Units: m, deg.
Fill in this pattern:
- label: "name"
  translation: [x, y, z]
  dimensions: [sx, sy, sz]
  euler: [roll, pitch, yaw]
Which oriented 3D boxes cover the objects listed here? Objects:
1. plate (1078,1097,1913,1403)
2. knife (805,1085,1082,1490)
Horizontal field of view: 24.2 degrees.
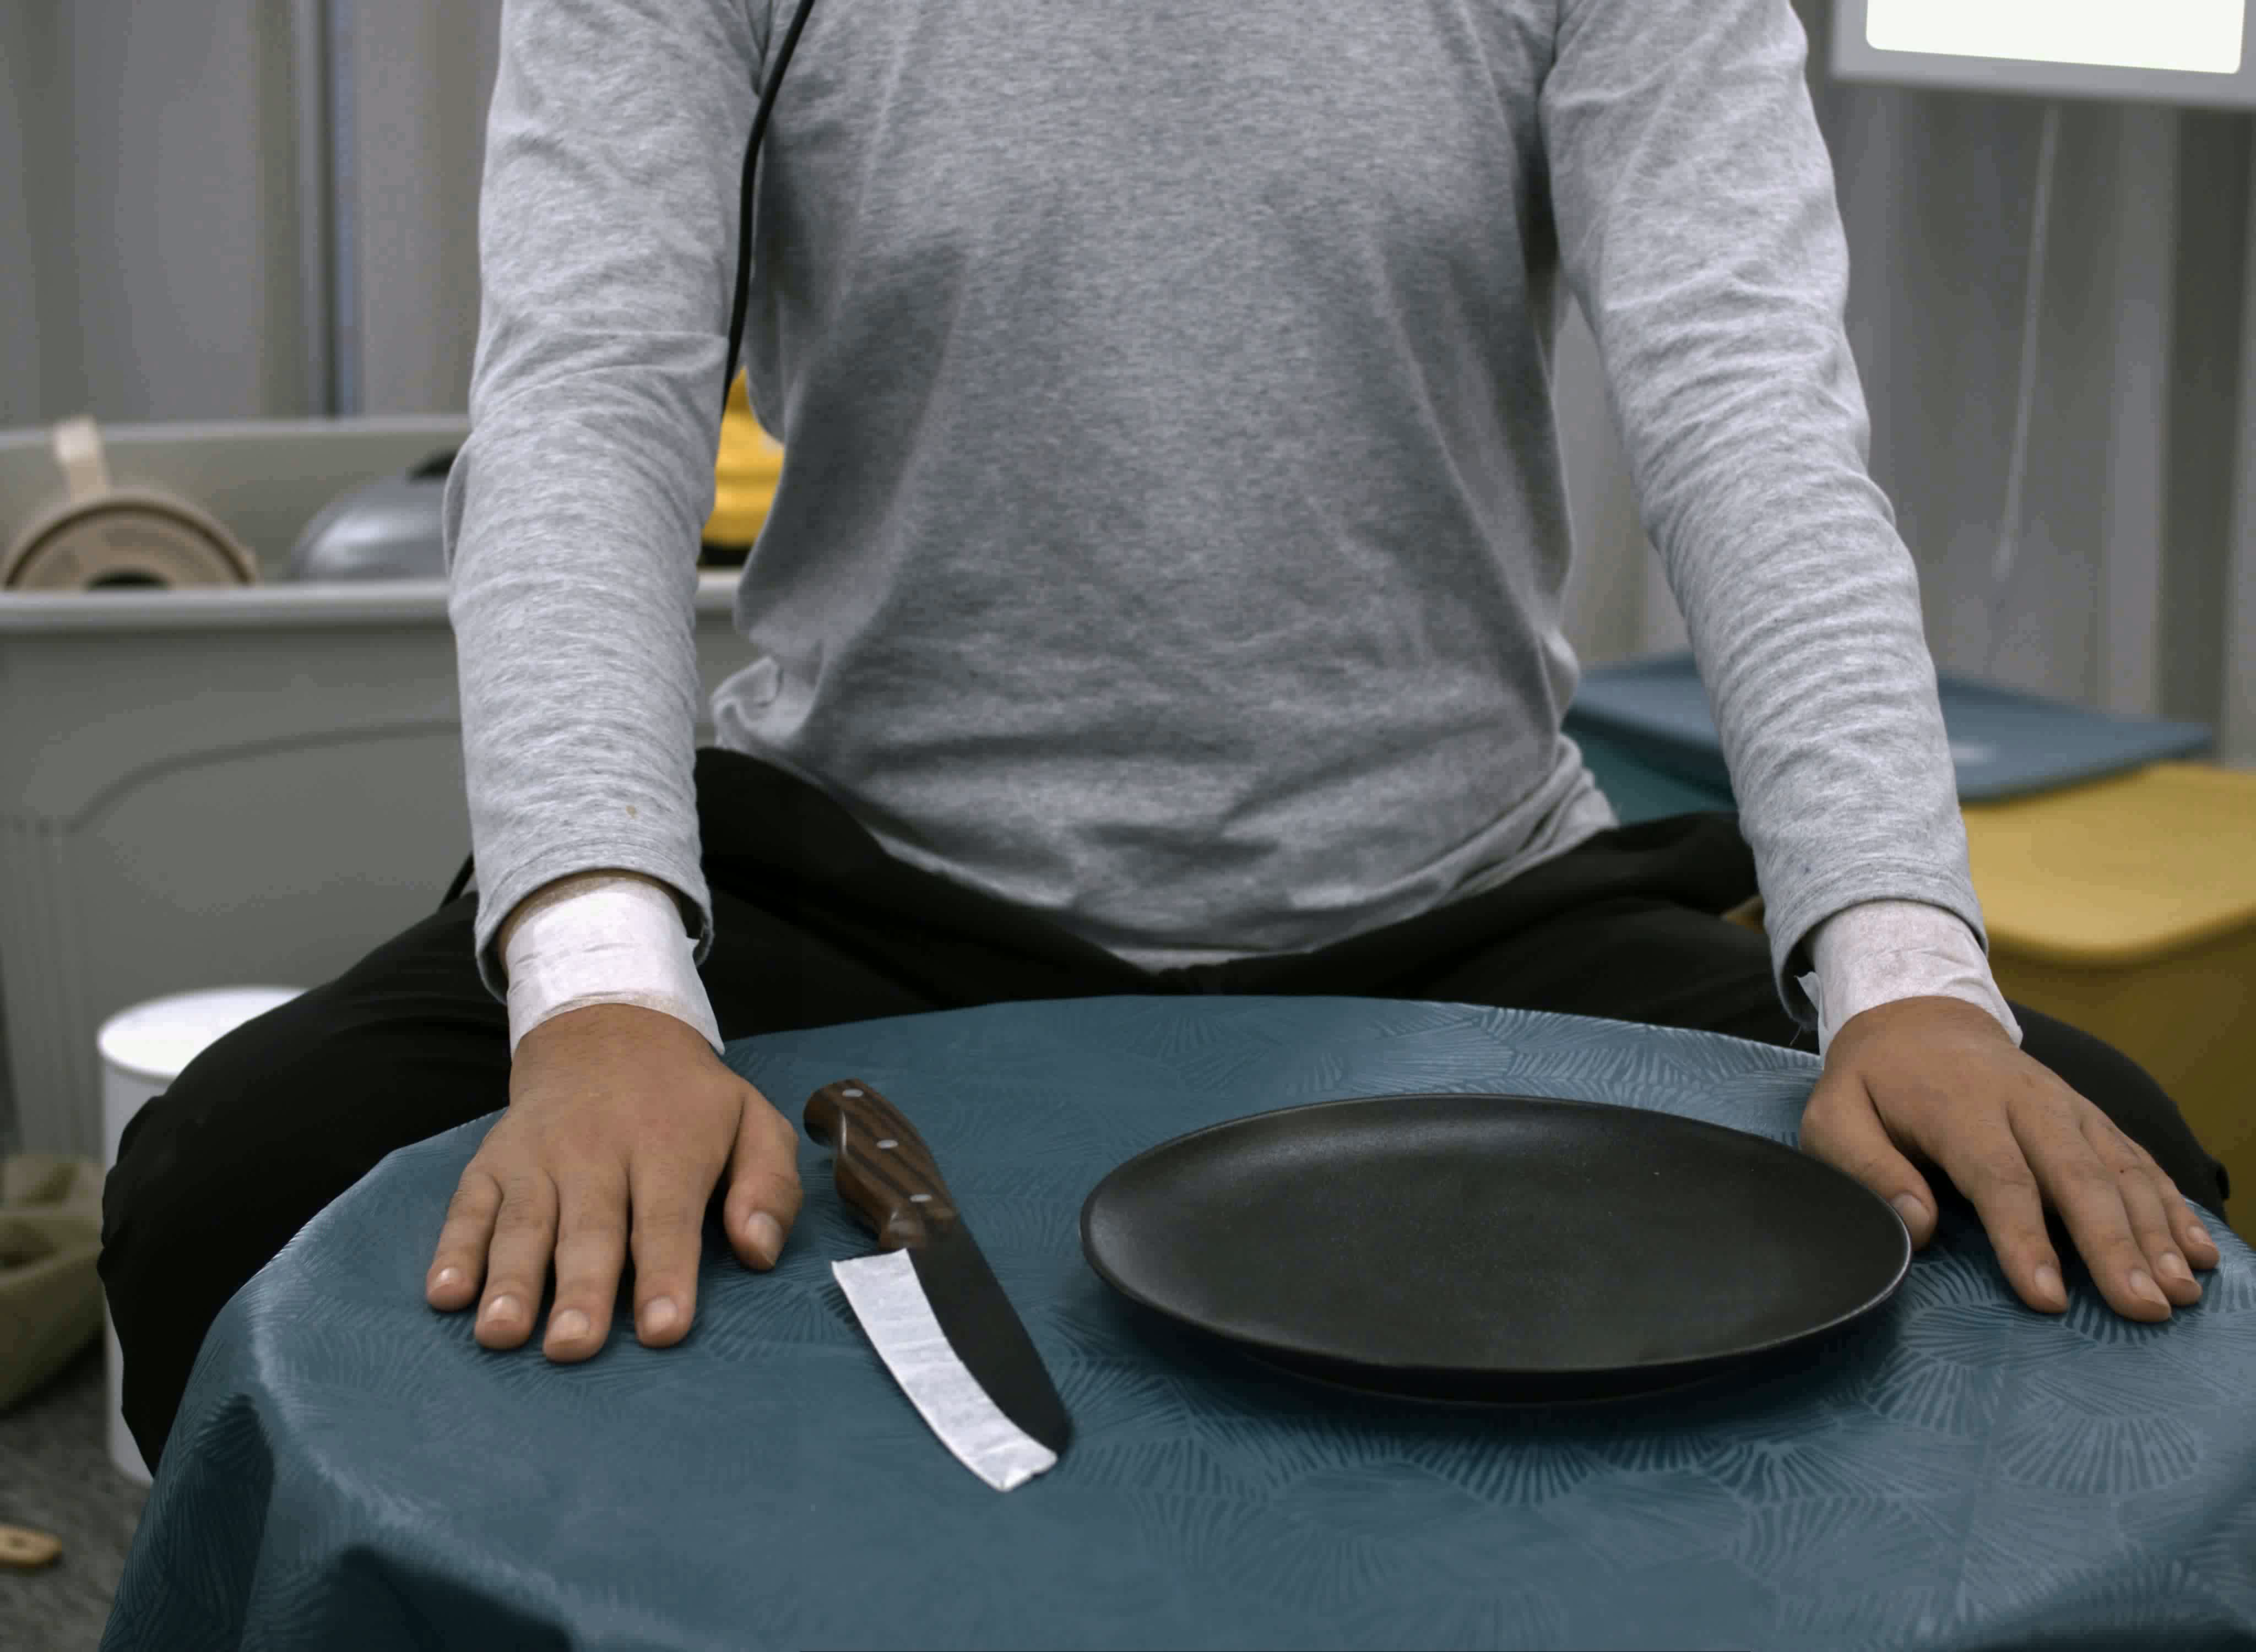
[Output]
- label: "plate"
  translation: [0.106, 0.126, 1.538]
  dimensions: [0.243, 0.023, 0.243]
  euler: [0, 15, 0]
- label: "knife"
  translation: [-0.059, 0.132, 1.524]
  dimensions: [0.050, 0.020, 0.286]
  euler: [-7, 19, -10]
